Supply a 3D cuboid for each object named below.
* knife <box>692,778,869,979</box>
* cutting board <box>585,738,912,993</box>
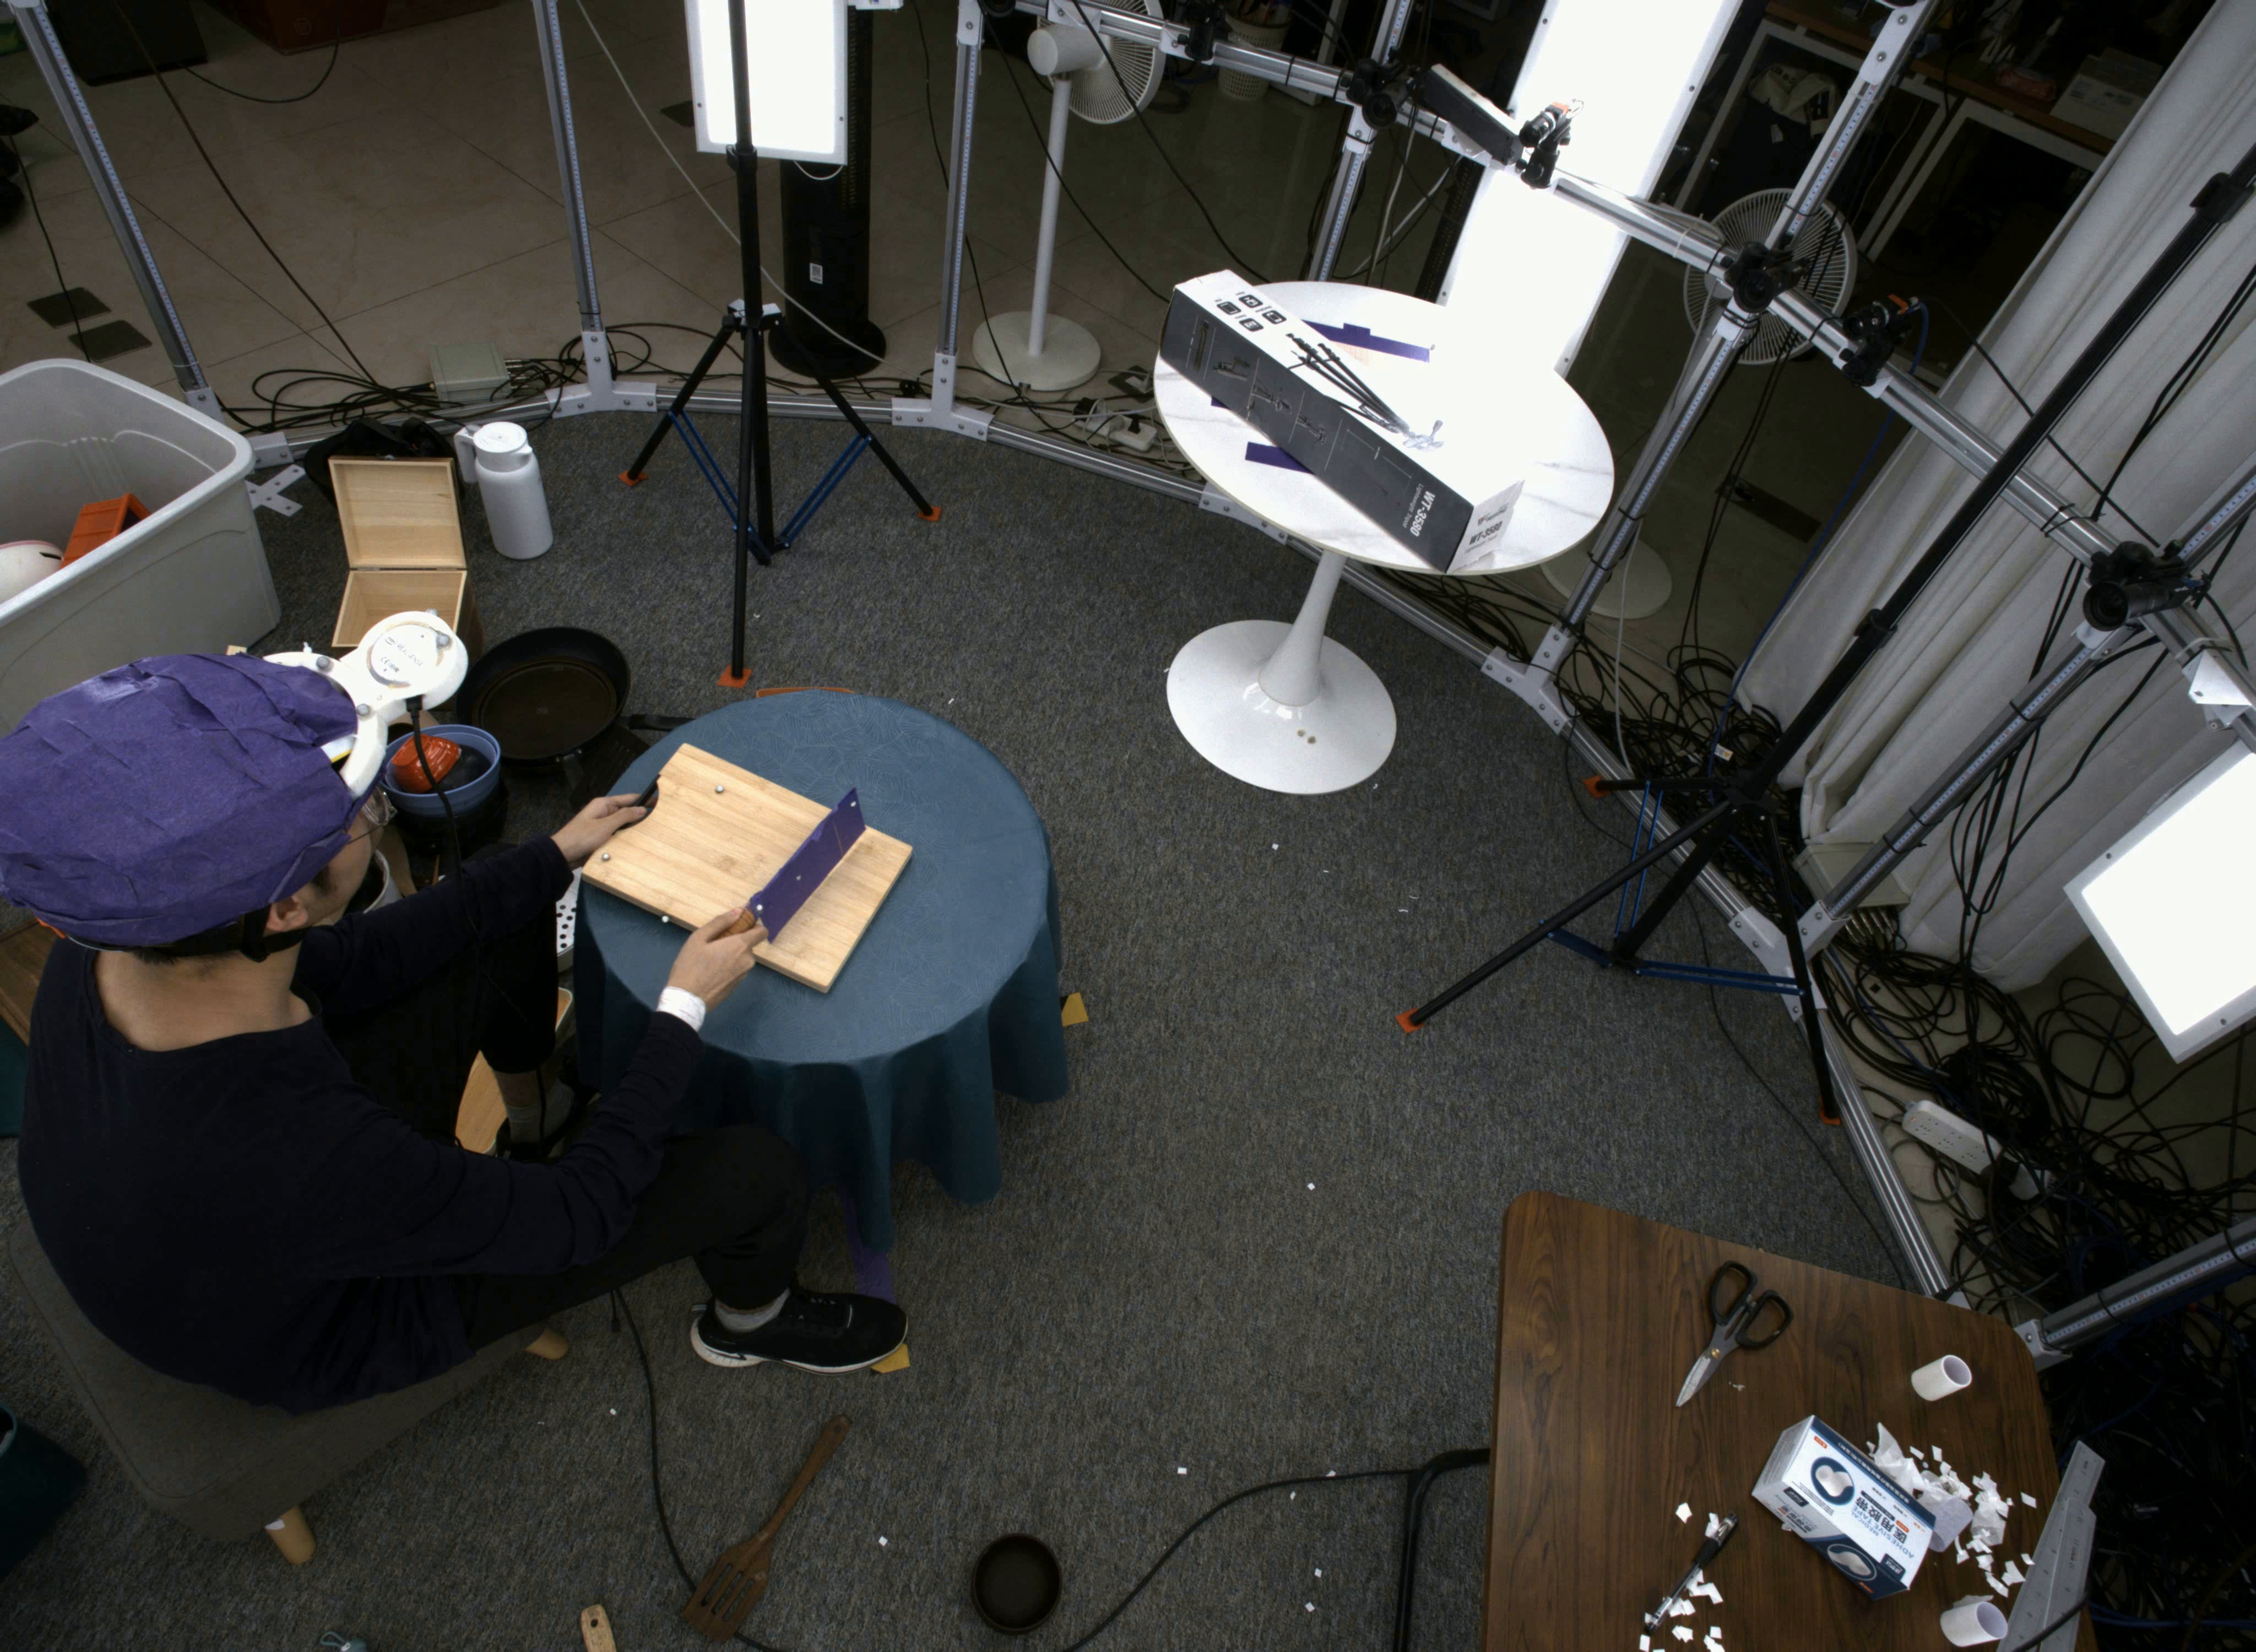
[{"bbox_3d":[-0.413,0.078,1.587,0.031,0.107,0.314,22,54,20],"label":"knife"},{"bbox_3d":[-0.484,0.044,1.660,0.346,0.024,0.248,24,52,-1],"label":"cutting board"}]
